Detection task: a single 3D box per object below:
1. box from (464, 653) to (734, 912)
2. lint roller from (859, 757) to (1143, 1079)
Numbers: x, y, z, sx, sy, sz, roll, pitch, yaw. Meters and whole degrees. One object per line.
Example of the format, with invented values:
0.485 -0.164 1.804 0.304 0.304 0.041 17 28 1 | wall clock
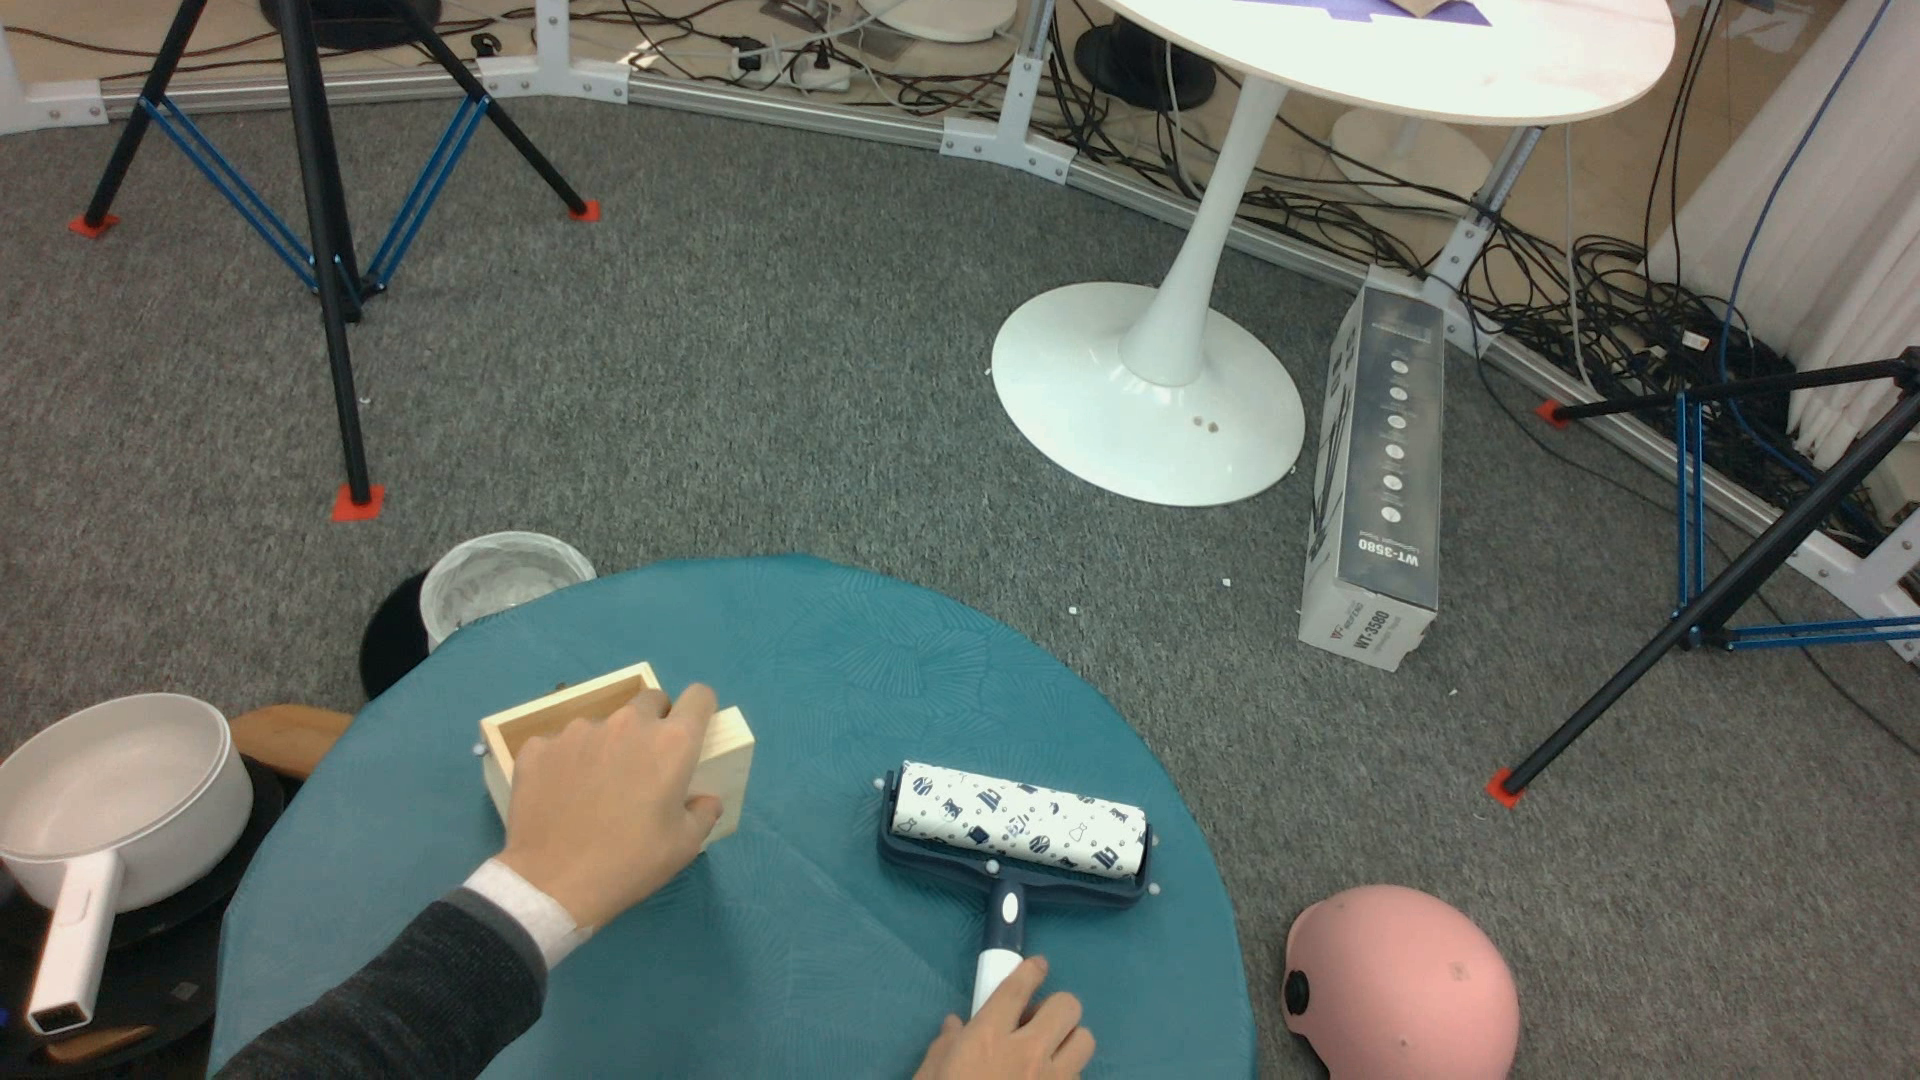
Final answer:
-0.209 0.119 0.775 0.103 0.183 0.134 -21 62 -29 | box
0.000 0.252 0.802 0.176 0.050 0.248 19 46 4 | lint roller
